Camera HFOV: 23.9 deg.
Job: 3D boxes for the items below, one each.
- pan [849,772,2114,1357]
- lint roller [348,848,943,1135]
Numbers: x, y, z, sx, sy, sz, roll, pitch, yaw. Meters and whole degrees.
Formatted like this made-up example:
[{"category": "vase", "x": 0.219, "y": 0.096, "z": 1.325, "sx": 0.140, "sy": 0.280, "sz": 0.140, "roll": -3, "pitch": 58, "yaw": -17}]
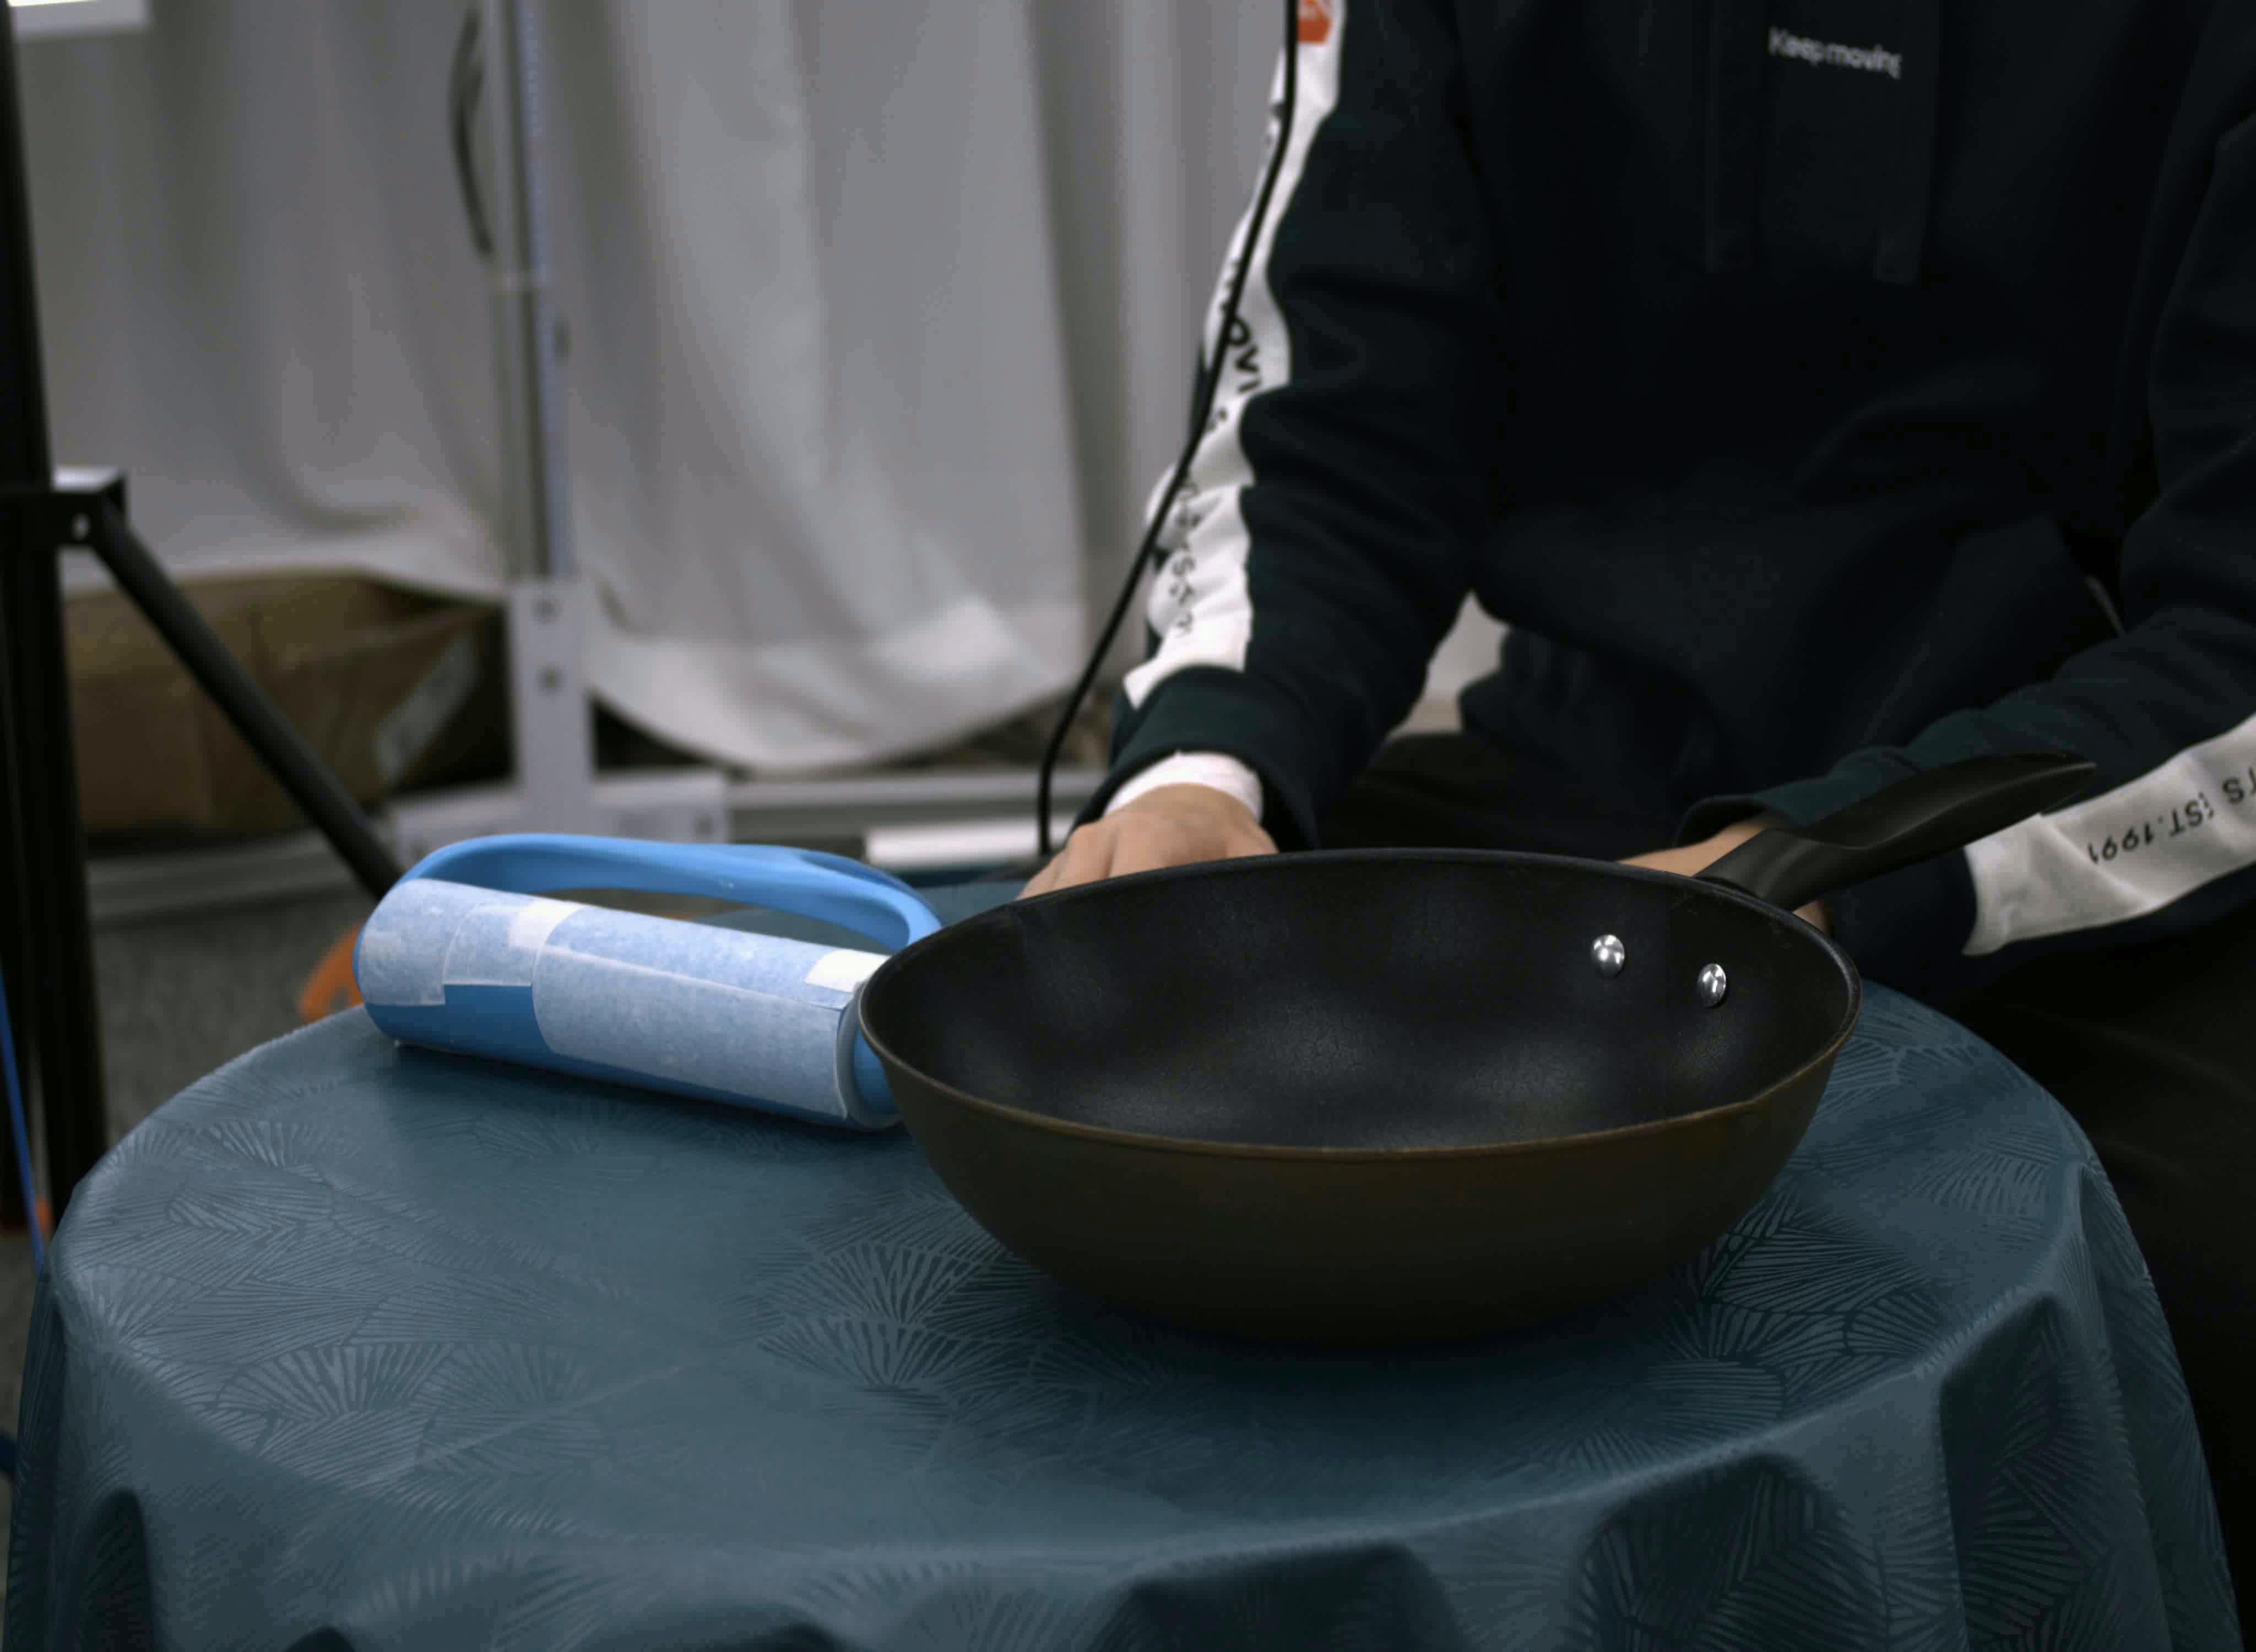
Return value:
[{"category": "pan", "x": 0.129, "y": 0.065, "z": 1.541, "sx": 0.452, "sy": 0.087, "sz": 0.295, "roll": -15, "pitch": 20, "yaw": -39}, {"category": "lint roller", "x": -0.122, "y": 0.040, "z": 1.716, "sx": 0.233, "sy": 0.068, "sz": 0.177, "roll": 5, "pitch": 19, "yaw": 32}]
